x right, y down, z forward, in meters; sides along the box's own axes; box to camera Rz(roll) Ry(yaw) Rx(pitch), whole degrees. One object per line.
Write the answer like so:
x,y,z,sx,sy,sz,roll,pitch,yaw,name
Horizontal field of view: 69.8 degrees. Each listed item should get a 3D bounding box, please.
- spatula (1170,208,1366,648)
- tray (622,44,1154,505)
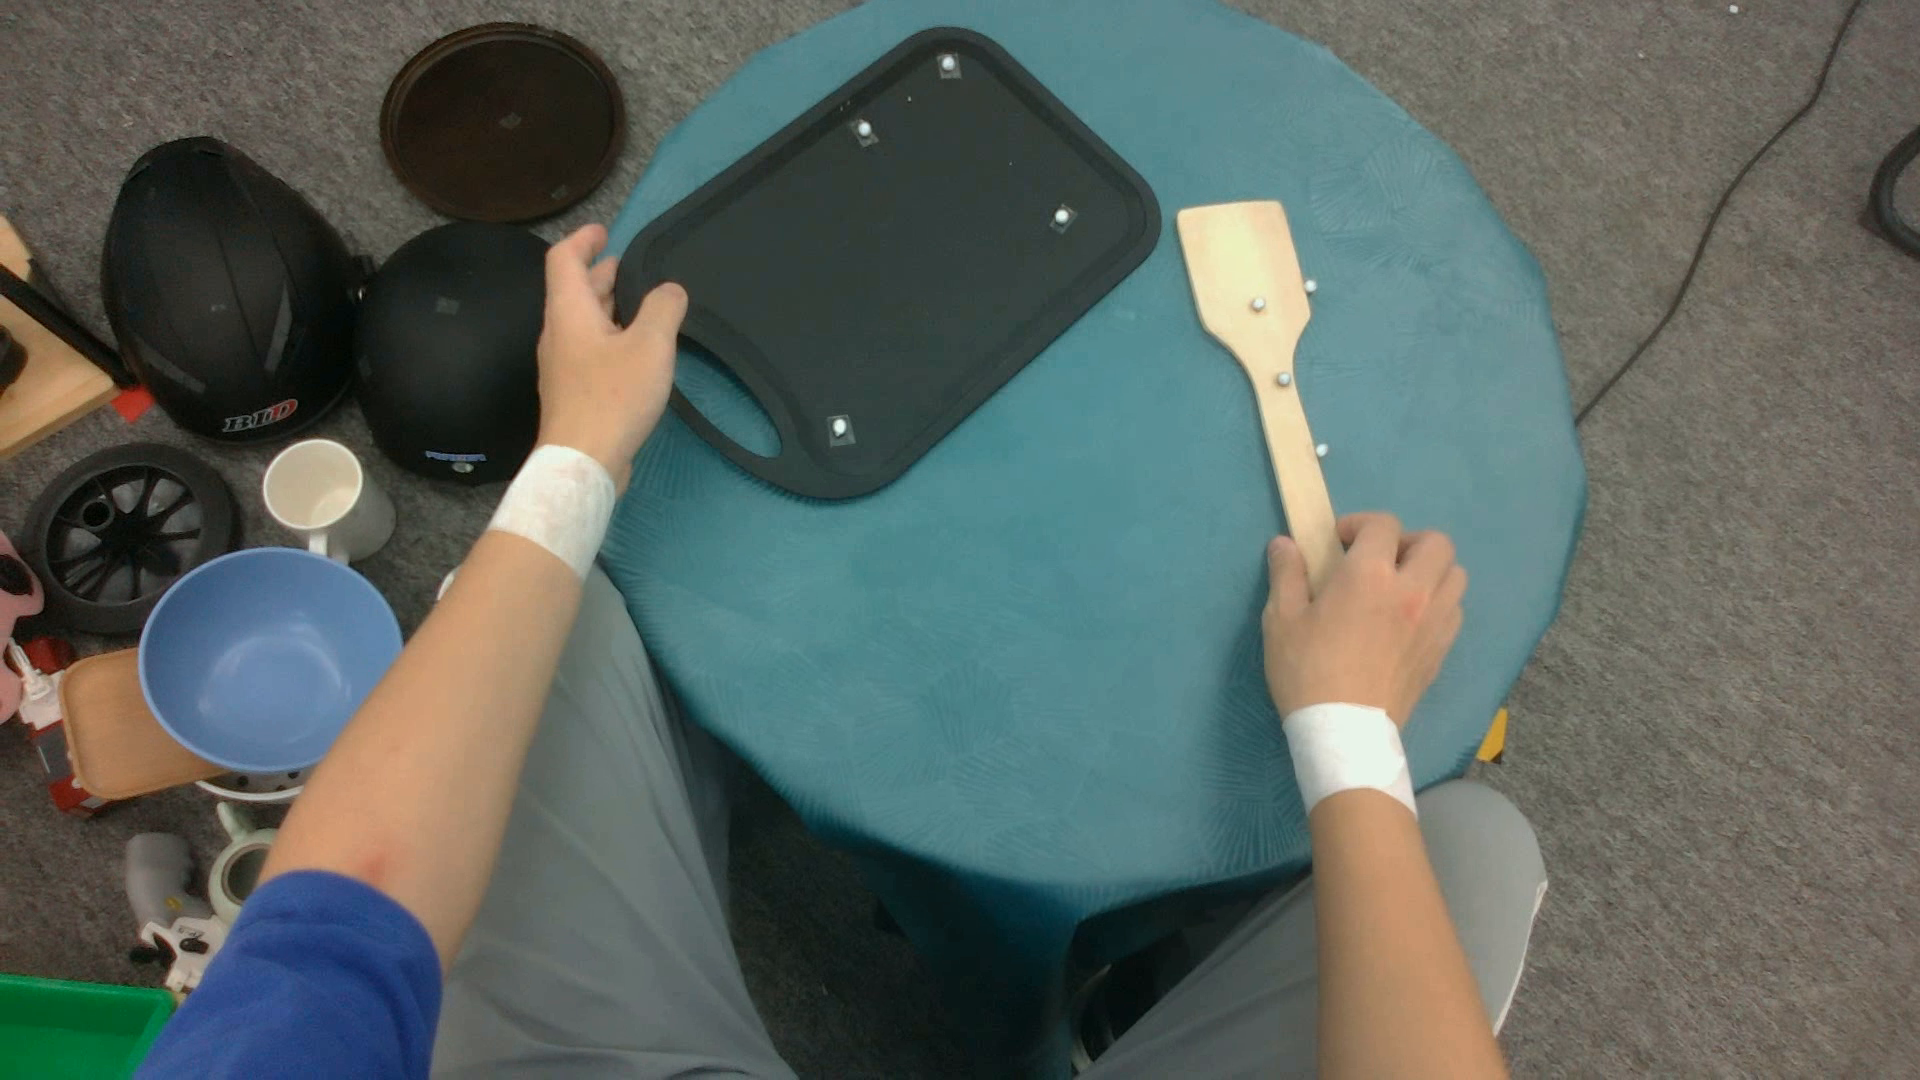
0.193,-0.074,0.827,0.072,0.010,0.294,-8,69,-8,spatula
-0.044,-0.168,0.843,0.211,0.010,0.326,44,72,10,tray
